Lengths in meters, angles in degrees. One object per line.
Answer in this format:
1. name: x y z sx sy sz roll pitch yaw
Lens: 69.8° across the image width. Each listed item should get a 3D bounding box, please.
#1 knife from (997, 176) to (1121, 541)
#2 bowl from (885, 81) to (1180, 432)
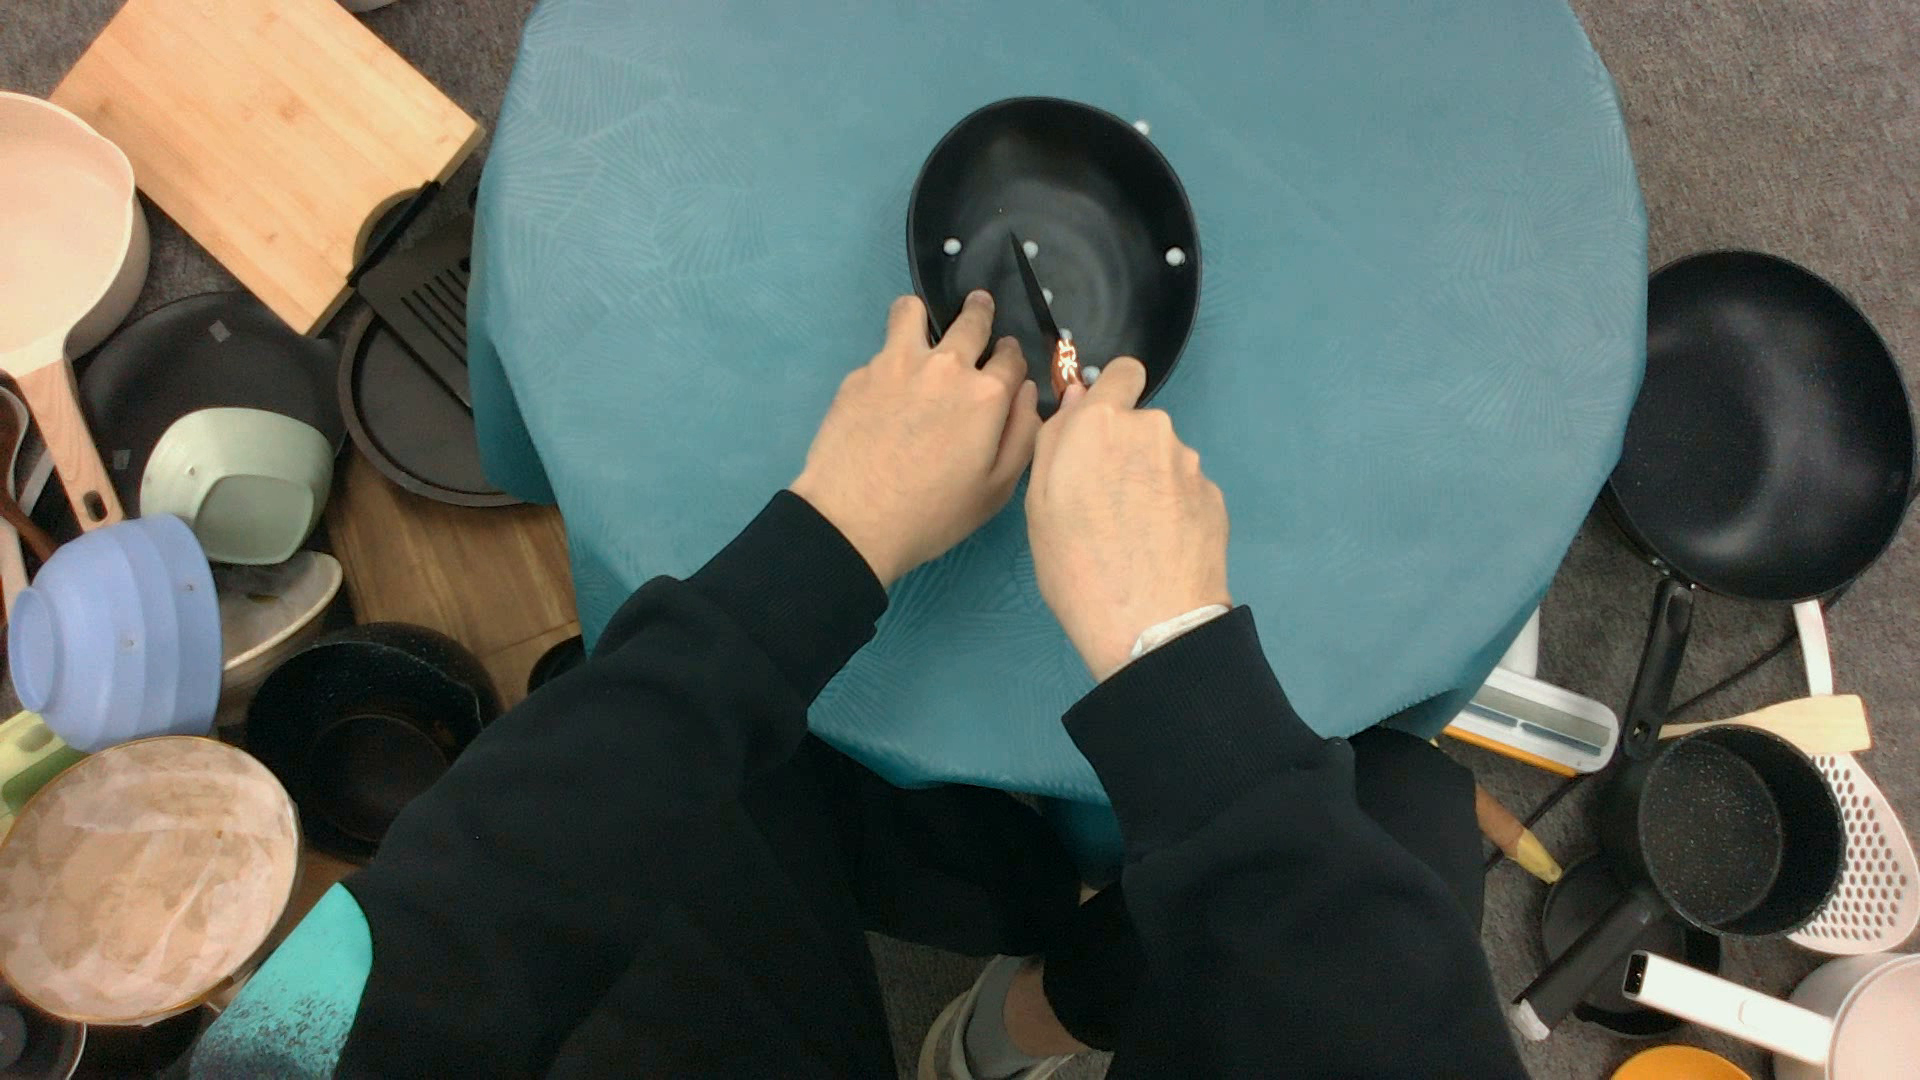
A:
1. knife: 0.037 -0.089 0.604 0.017 0.026 0.226 -2 49 -13
2. bowl: 0.033 -0.132 0.666 0.137 0.066 0.170 -11 81 -6
